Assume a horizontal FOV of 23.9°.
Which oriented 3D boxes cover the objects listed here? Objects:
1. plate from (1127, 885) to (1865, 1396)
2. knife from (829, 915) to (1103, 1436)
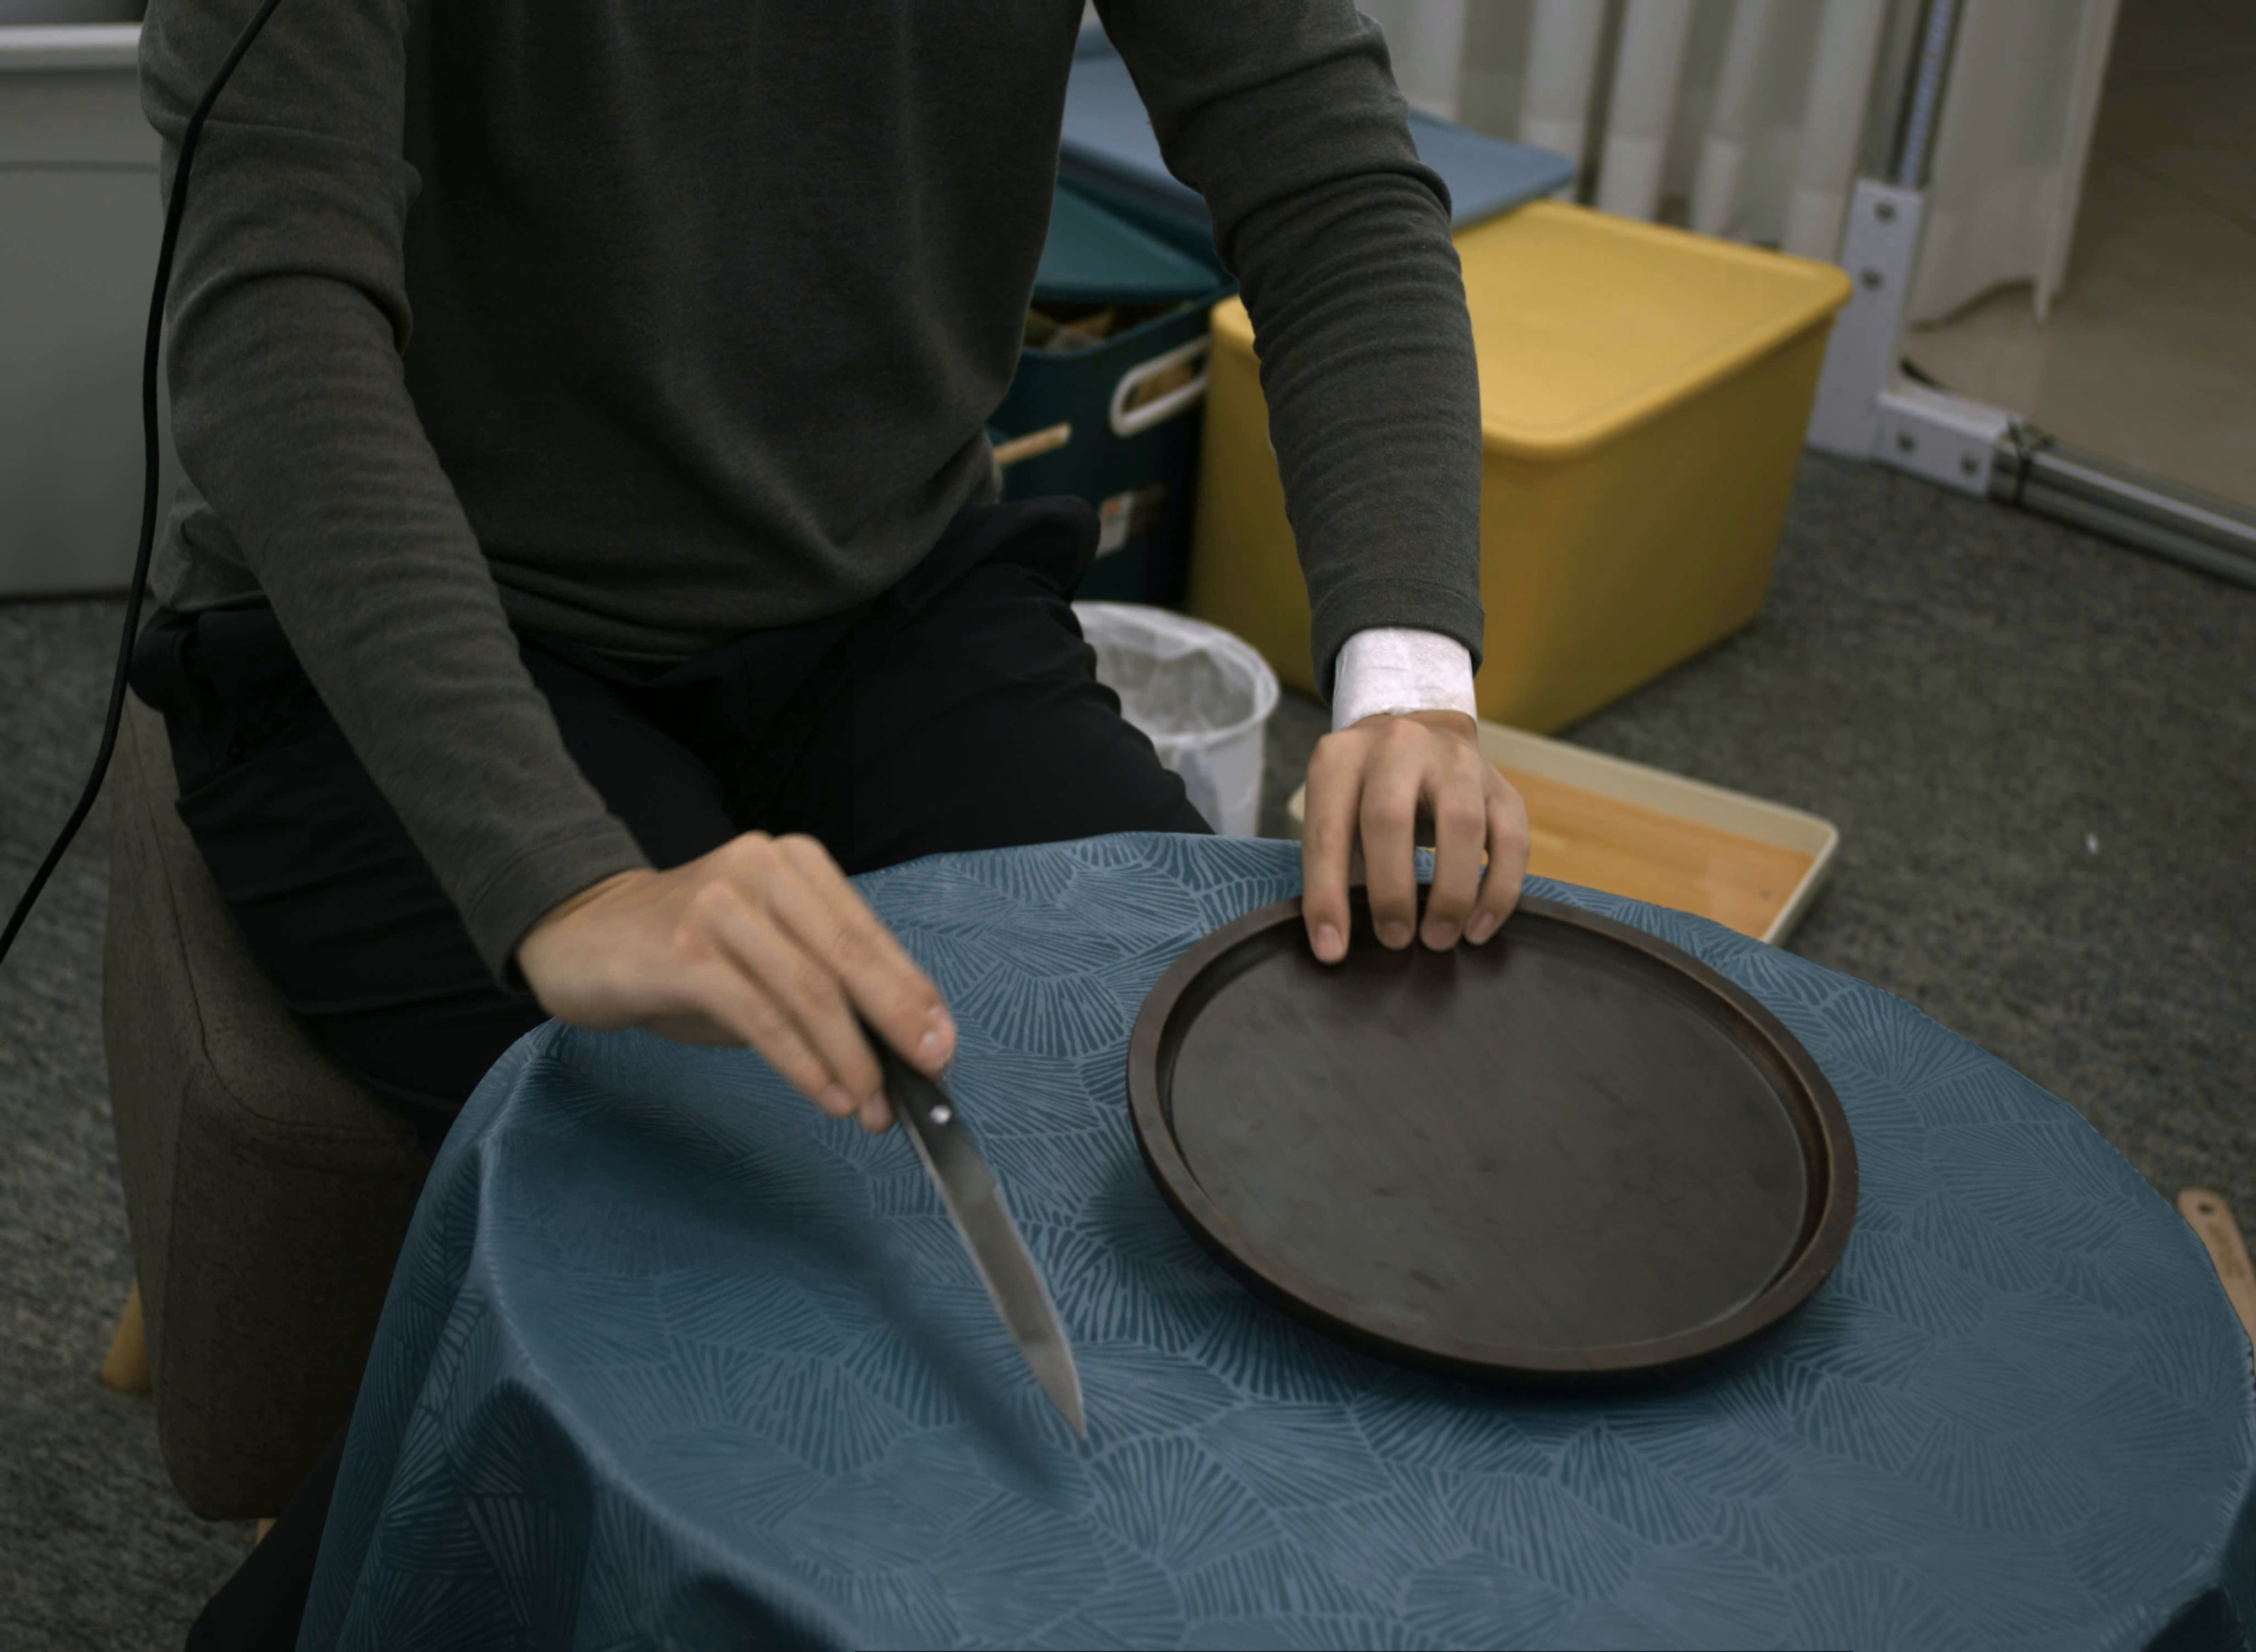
[{"bbox_3d":[0.123,0.104,1.803,0.254,0.029,0.257,7,37,-6],"label":"plate"},{"bbox_3d":[-0.053,0.110,1.715,0.024,0.016,0.240,5,37,-31],"label":"knife"}]
